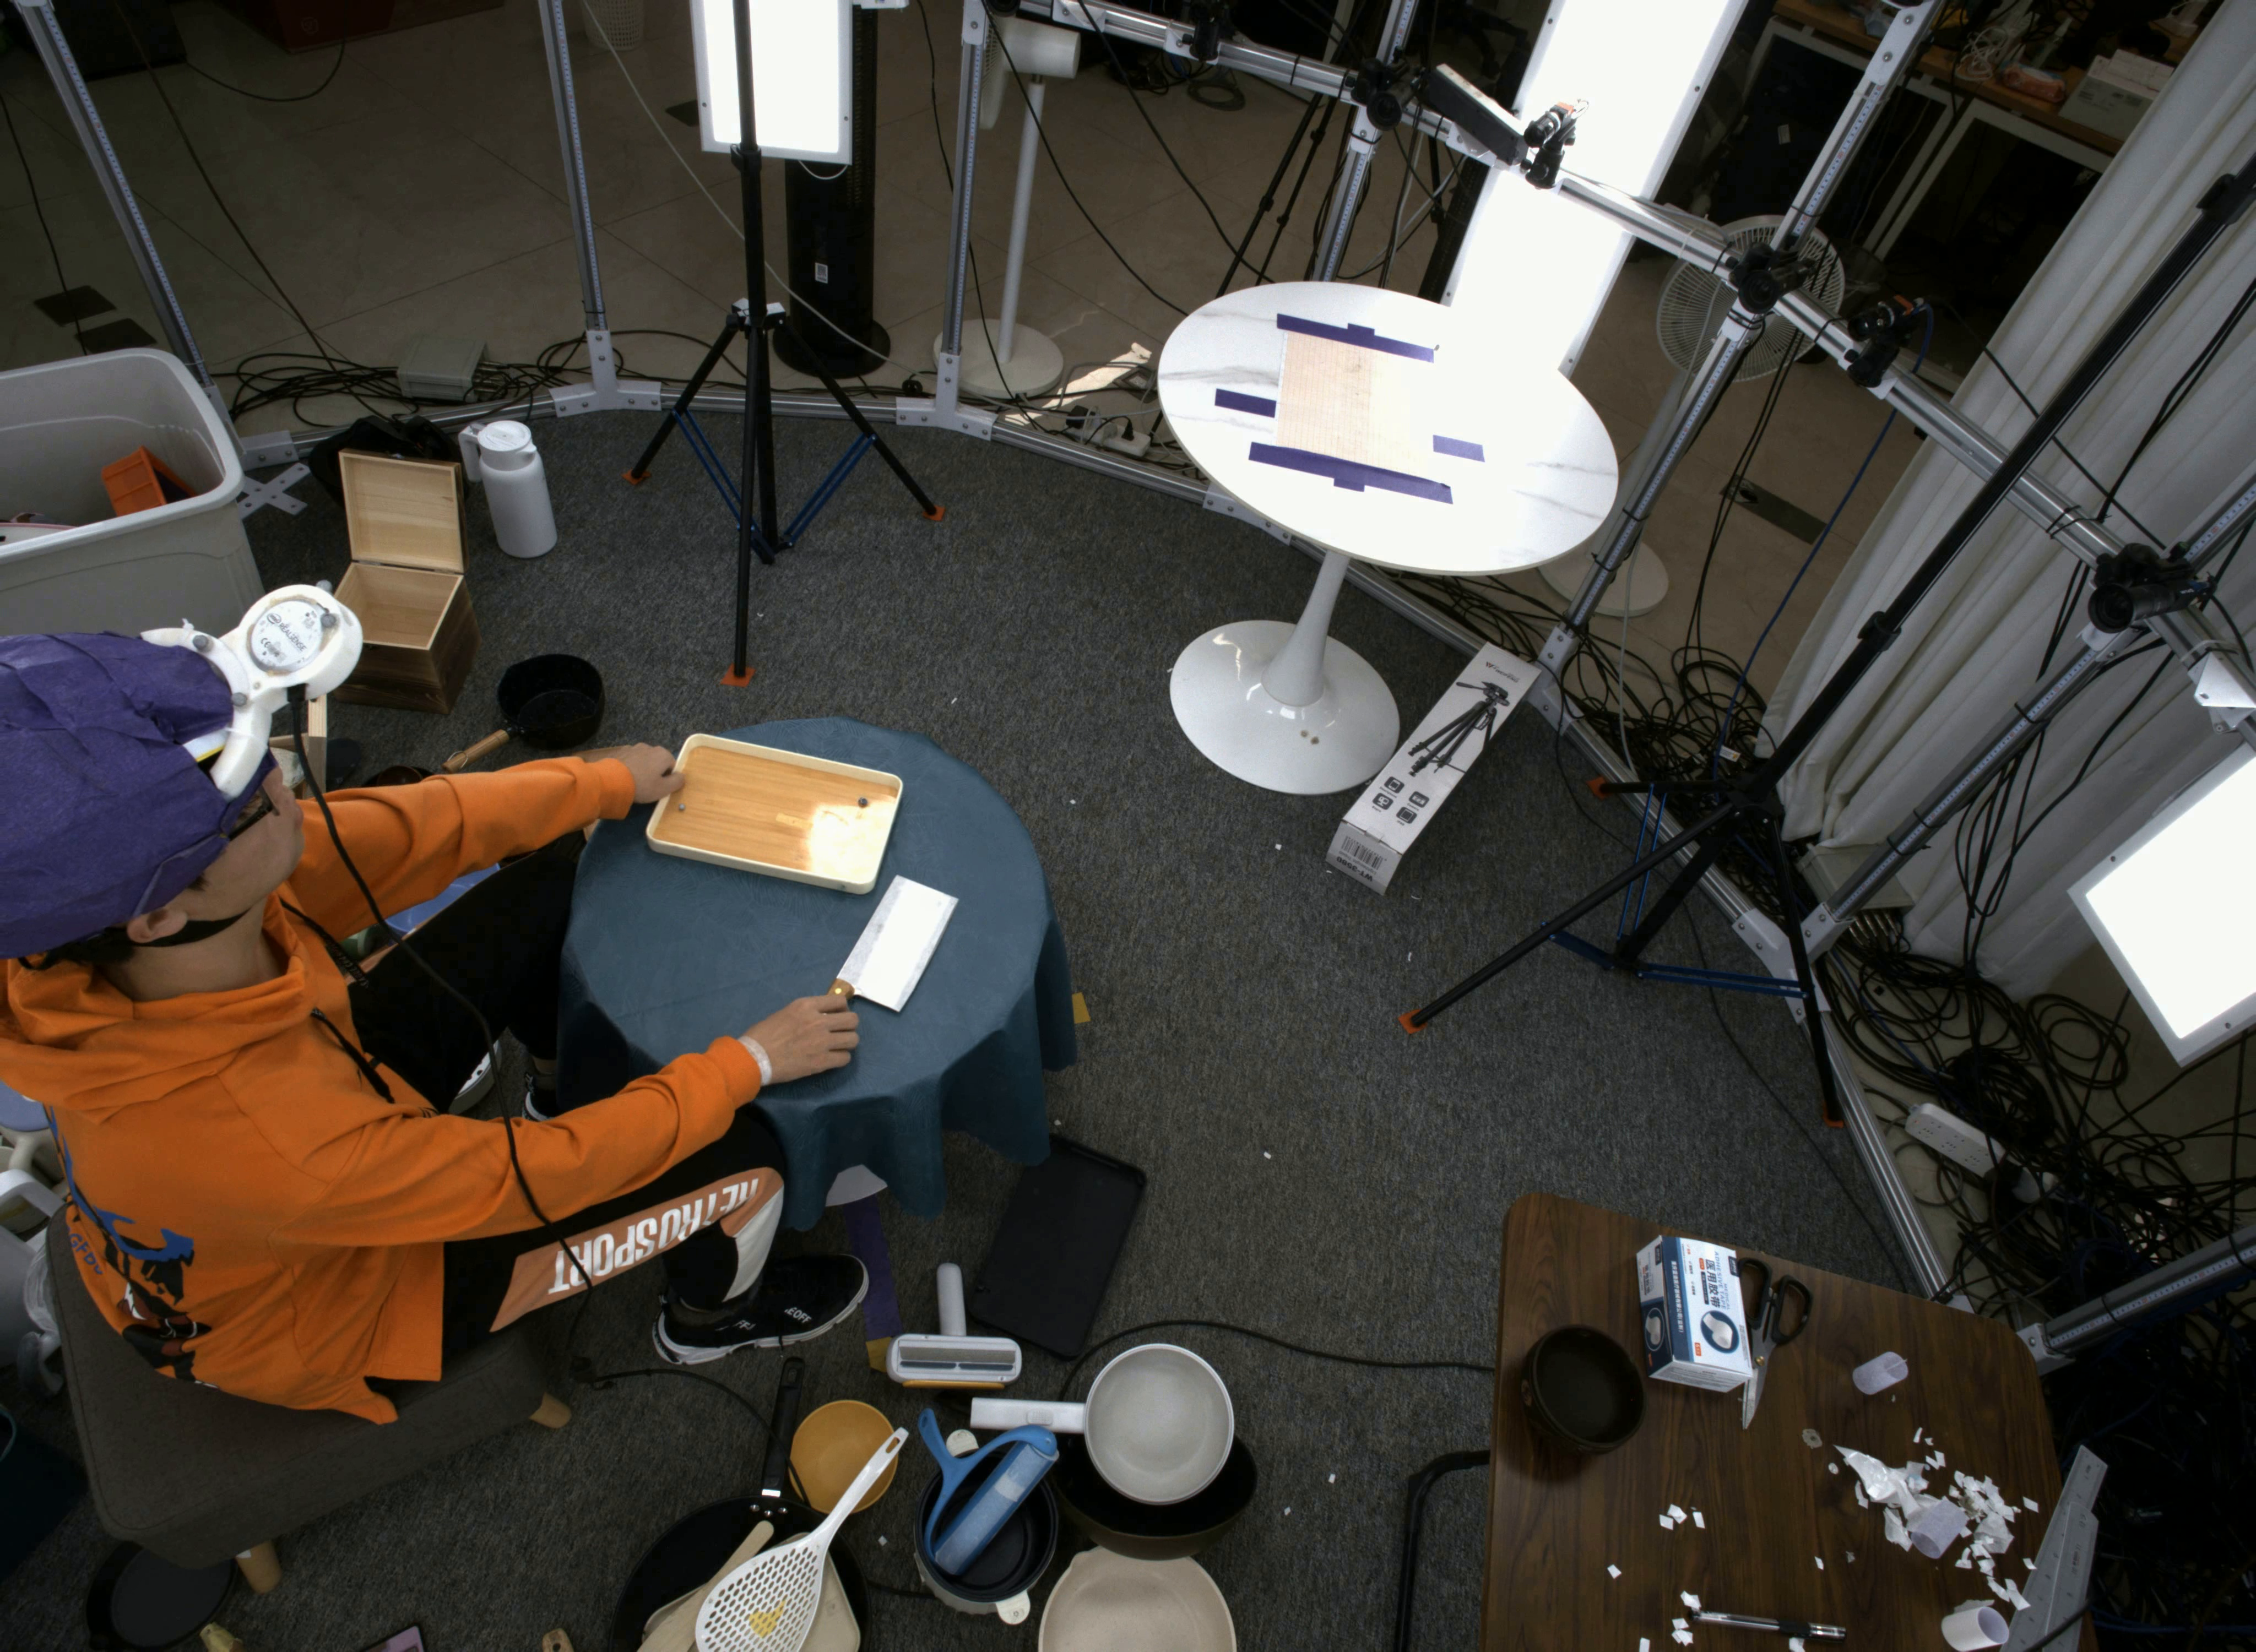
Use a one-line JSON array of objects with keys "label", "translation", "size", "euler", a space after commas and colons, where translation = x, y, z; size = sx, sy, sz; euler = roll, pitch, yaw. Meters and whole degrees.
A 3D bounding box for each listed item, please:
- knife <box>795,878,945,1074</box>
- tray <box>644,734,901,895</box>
[{"label": "knife", "translation": [-0.308, 0.182, 1.598], "size": [0.092, 0.021, 0.302], "euler": [23, 49, 0]}, {"label": "tray", "translation": [-0.462, -0.018, 1.699], "size": [0.299, 0.028, 0.188], "euler": [12, 52, -7]}]
